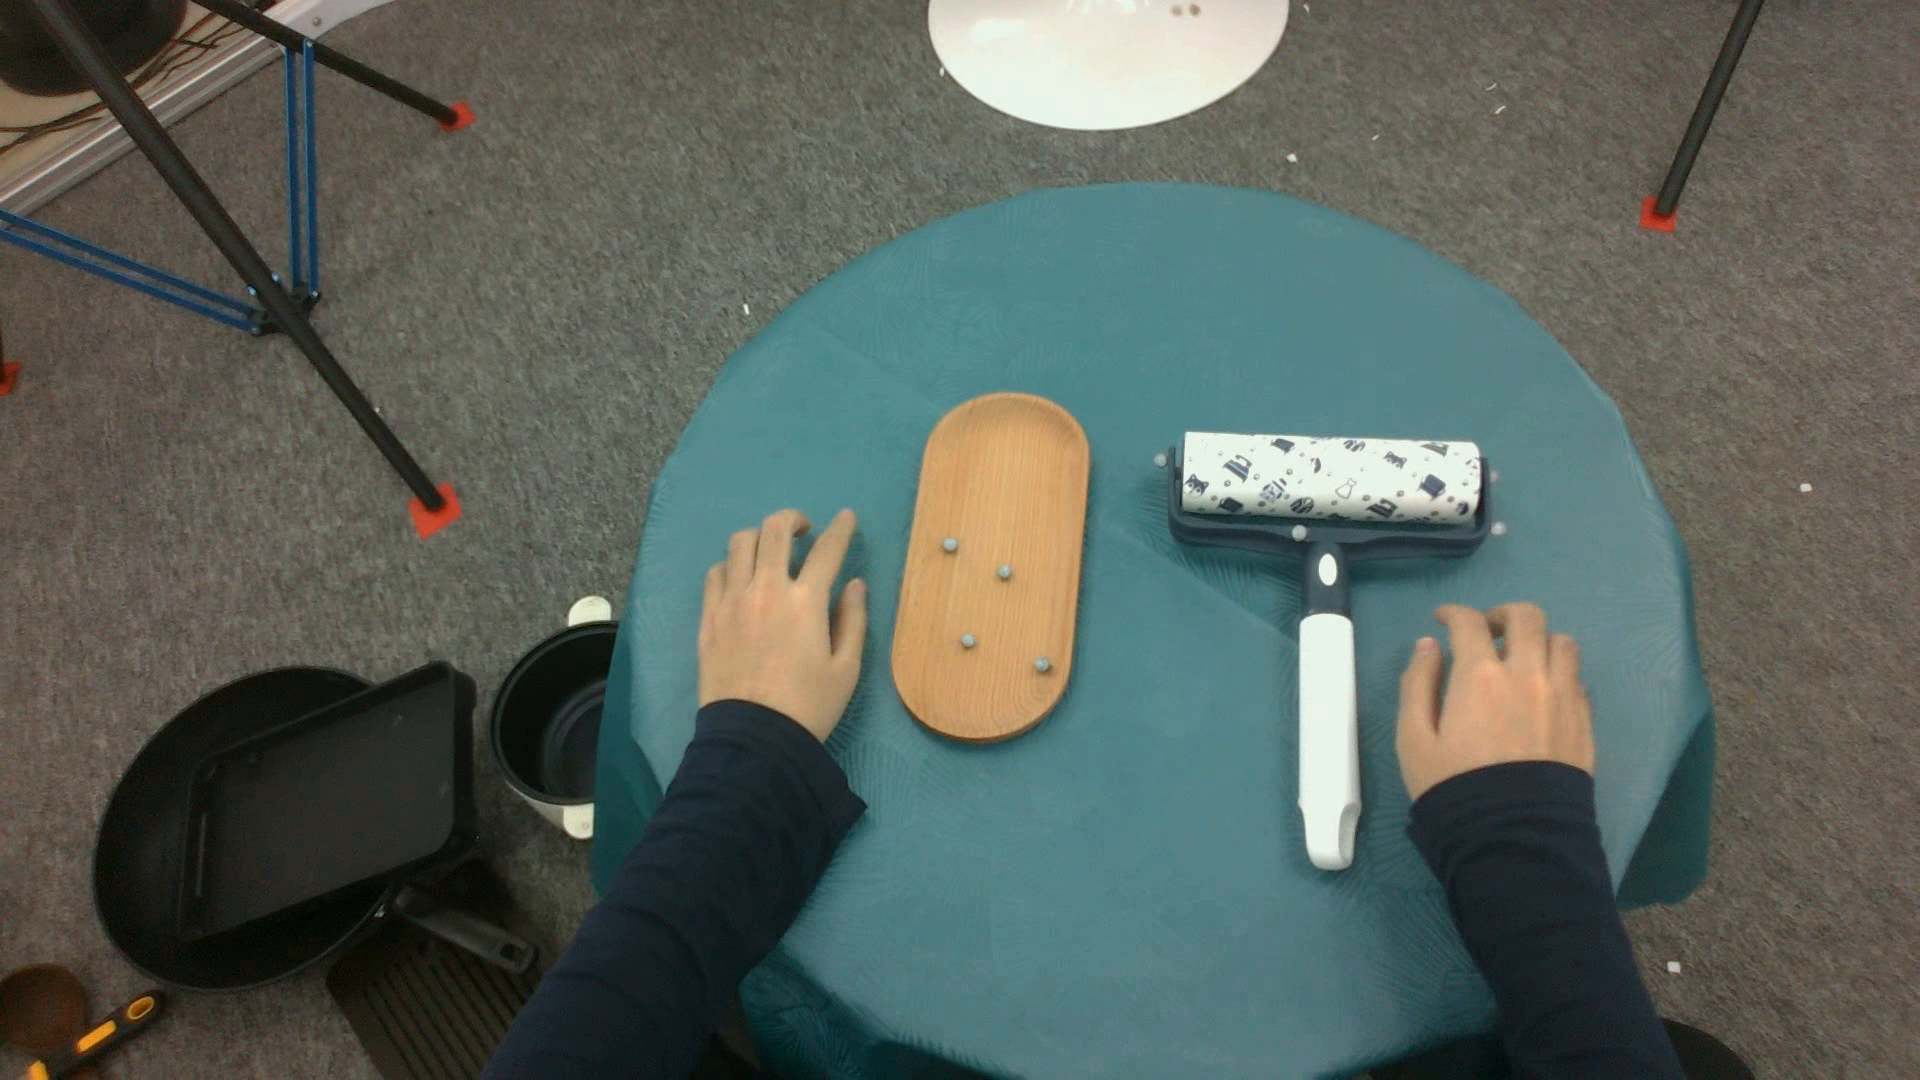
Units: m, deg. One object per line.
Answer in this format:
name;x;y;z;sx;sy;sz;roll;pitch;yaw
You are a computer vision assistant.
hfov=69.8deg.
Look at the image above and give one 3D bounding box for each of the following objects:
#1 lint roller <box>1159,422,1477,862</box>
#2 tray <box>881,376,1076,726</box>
lint roller;0.193;0.047;0.739;0.176;0.050;0.248;3;61;6
tray;0.013;0.001;0.798;0.101;0.020;0.232;3;58;5
